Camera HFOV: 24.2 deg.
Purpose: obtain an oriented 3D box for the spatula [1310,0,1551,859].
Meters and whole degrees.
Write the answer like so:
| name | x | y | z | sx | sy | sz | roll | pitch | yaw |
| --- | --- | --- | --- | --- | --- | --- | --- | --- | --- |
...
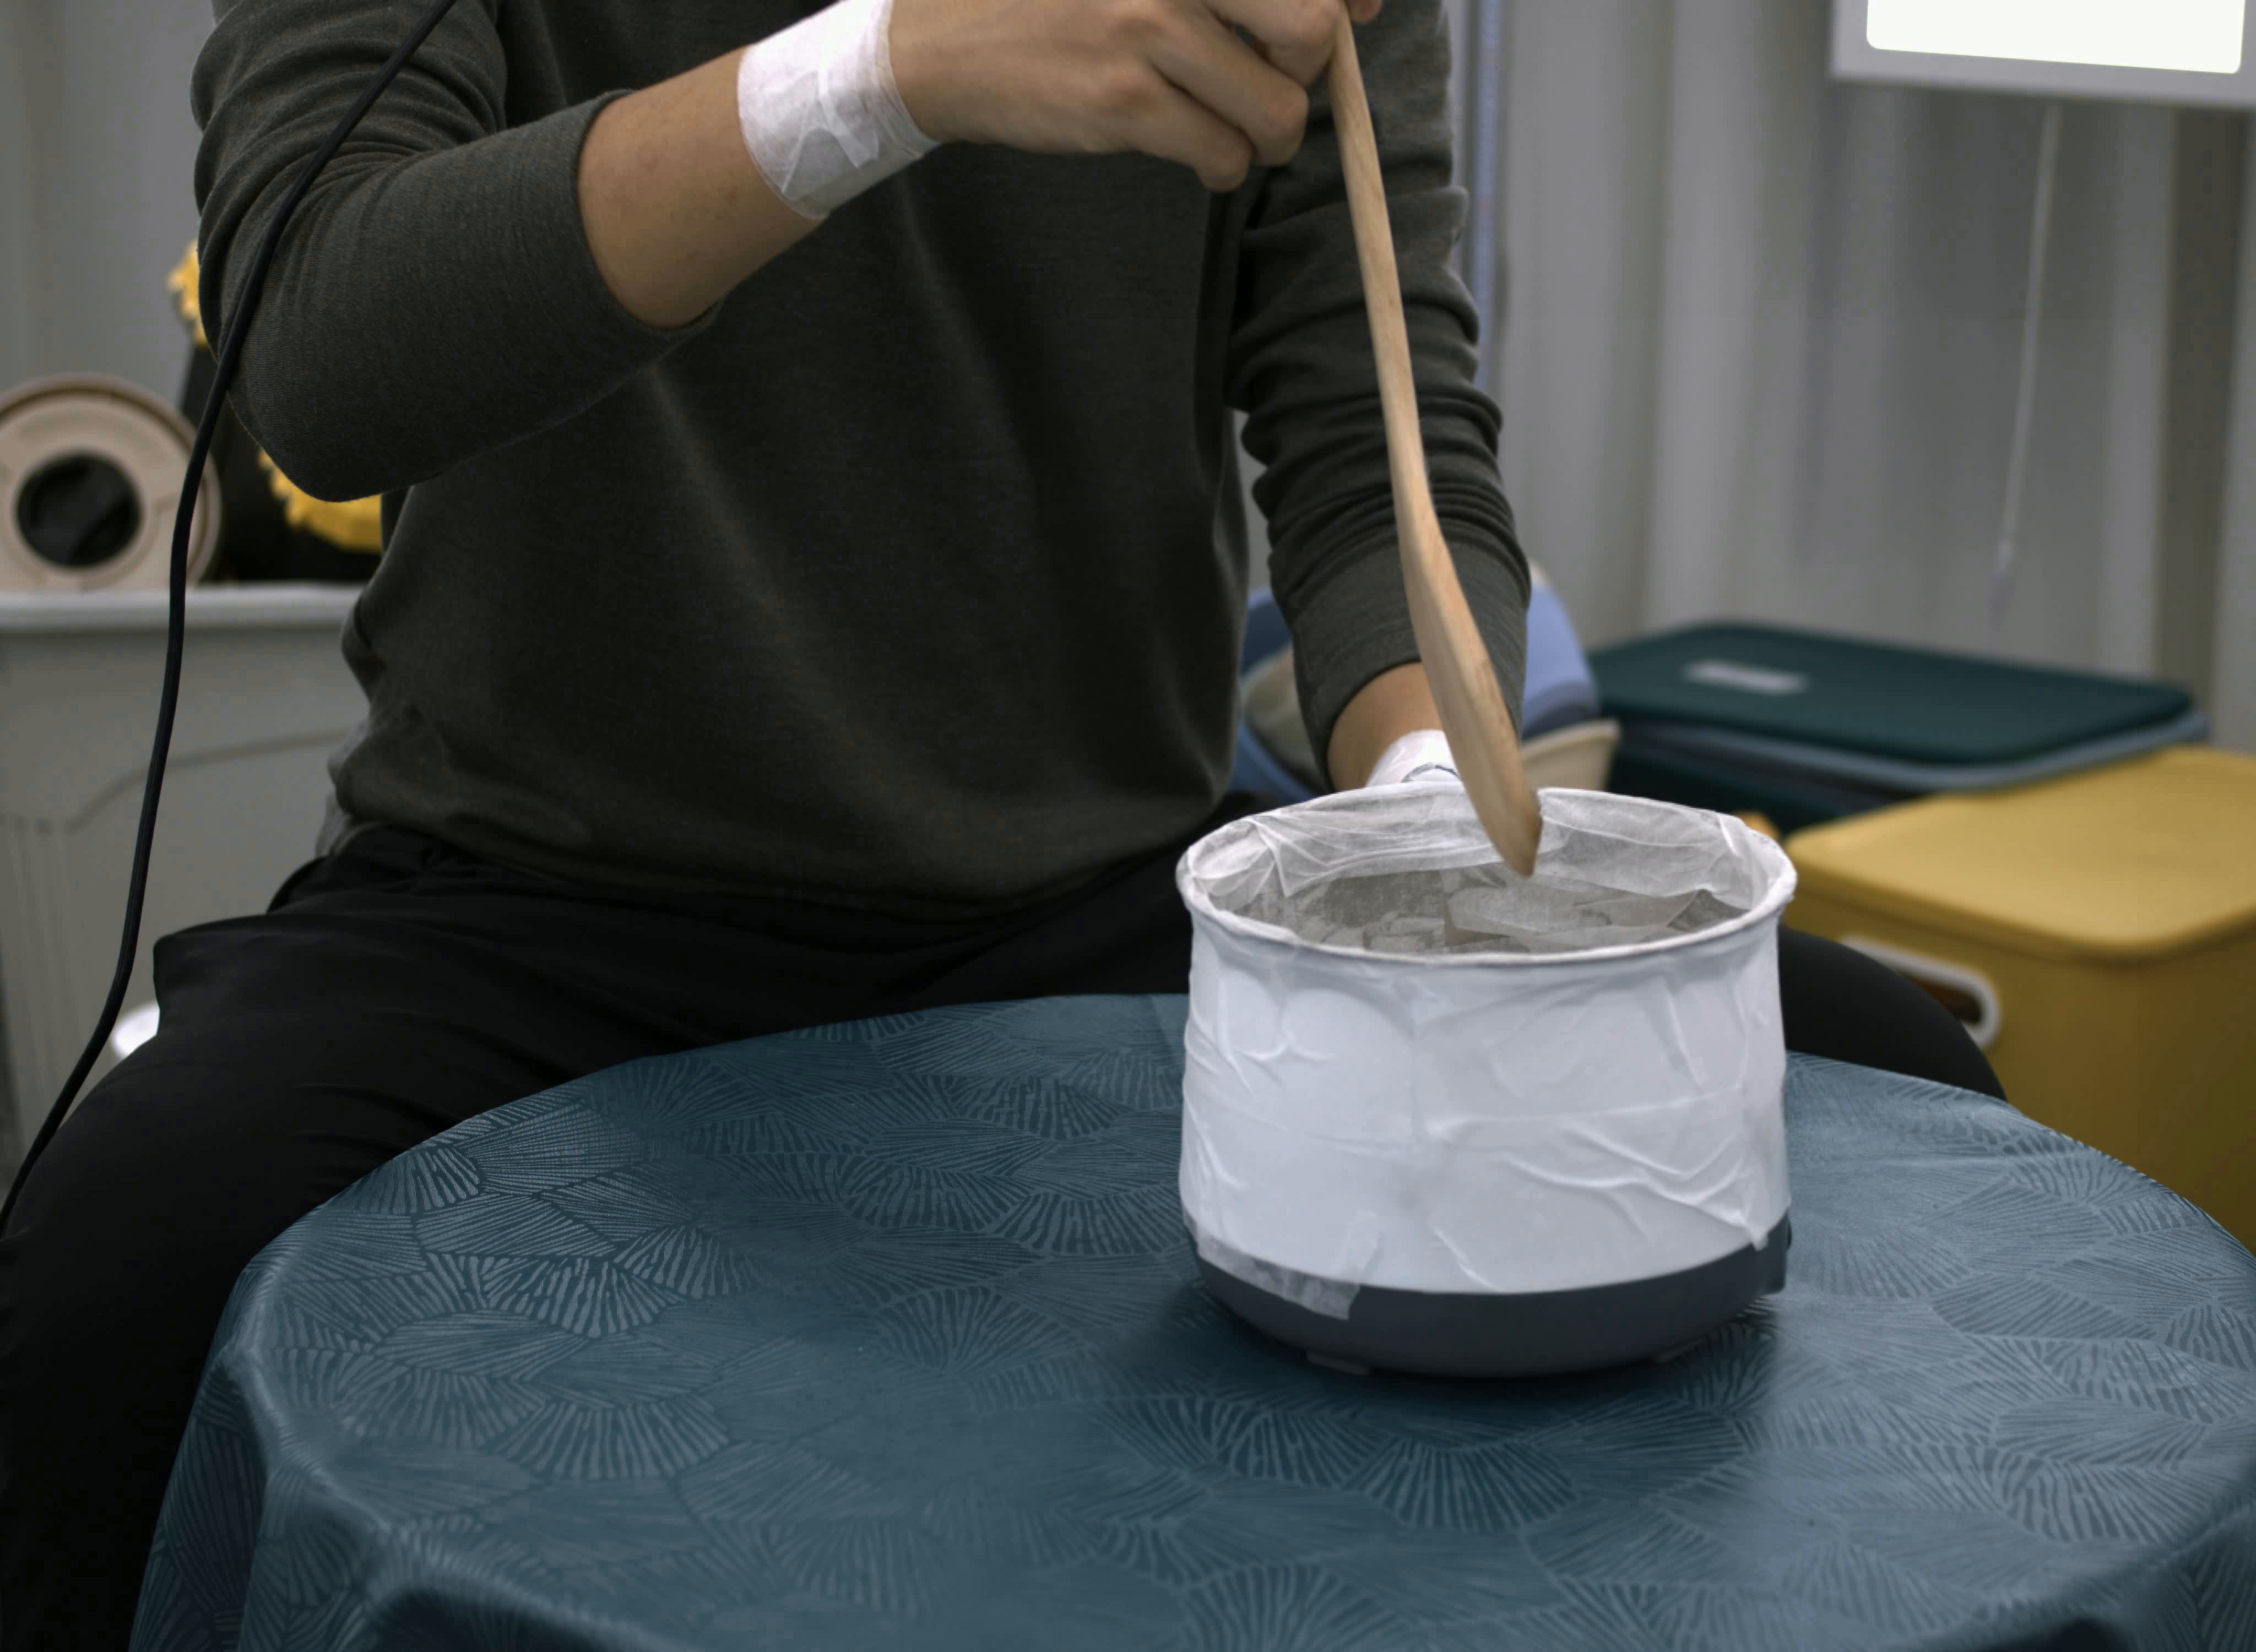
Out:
| name | x | y | z | sx | sy | sz | roll | pitch | yaw |
| --- | --- | --- | --- | --- | --- | --- | --- | --- | --- |
| spatula | 0.064 | -0.181 | 1.445 | 0.018 | 0.392 | 0.095 | -12 | 2 | -5 |

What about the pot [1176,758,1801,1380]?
| name | x | y | z | sx | sy | sz | roll | pitch | yaw |
| --- | --- | --- | --- | --- | --- | --- | --- | --- | --- |
| pot | 0.100 | 0.065 | 1.536 | 0.178 | 0.138 | 0.232 | -2 | 16 | -6 |
